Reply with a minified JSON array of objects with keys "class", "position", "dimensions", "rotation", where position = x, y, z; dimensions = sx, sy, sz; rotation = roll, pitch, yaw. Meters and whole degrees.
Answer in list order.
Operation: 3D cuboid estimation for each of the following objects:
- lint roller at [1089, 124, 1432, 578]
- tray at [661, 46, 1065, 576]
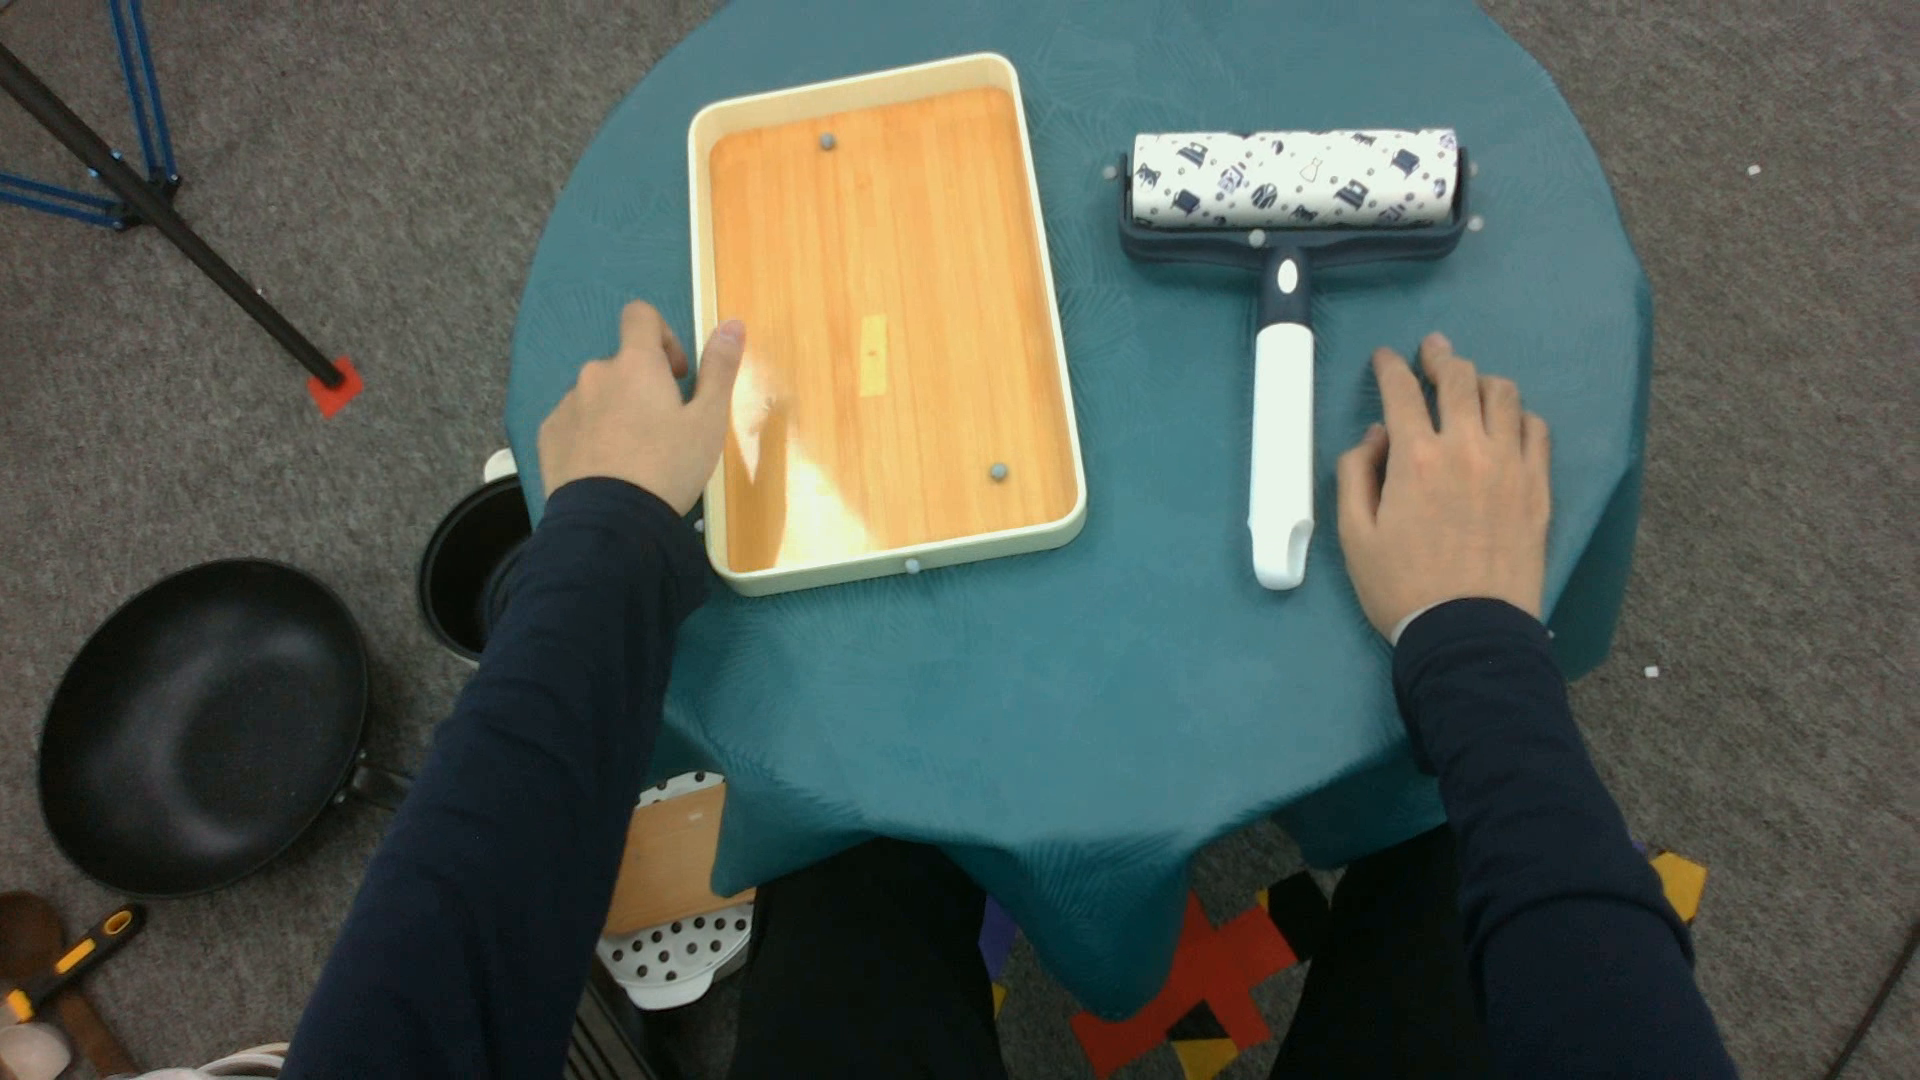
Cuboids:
[{"class":"lint roller","position":[0.150,-0.102,0.688],"dimensions":[0.176,0.050,0.248],"rotation":[1,68,7]},{"class":"tray","position":[-0.058,-0.132,0.734],"dimensions":[0.191,0.027,0.301],"rotation":[-8,65,1]}]
